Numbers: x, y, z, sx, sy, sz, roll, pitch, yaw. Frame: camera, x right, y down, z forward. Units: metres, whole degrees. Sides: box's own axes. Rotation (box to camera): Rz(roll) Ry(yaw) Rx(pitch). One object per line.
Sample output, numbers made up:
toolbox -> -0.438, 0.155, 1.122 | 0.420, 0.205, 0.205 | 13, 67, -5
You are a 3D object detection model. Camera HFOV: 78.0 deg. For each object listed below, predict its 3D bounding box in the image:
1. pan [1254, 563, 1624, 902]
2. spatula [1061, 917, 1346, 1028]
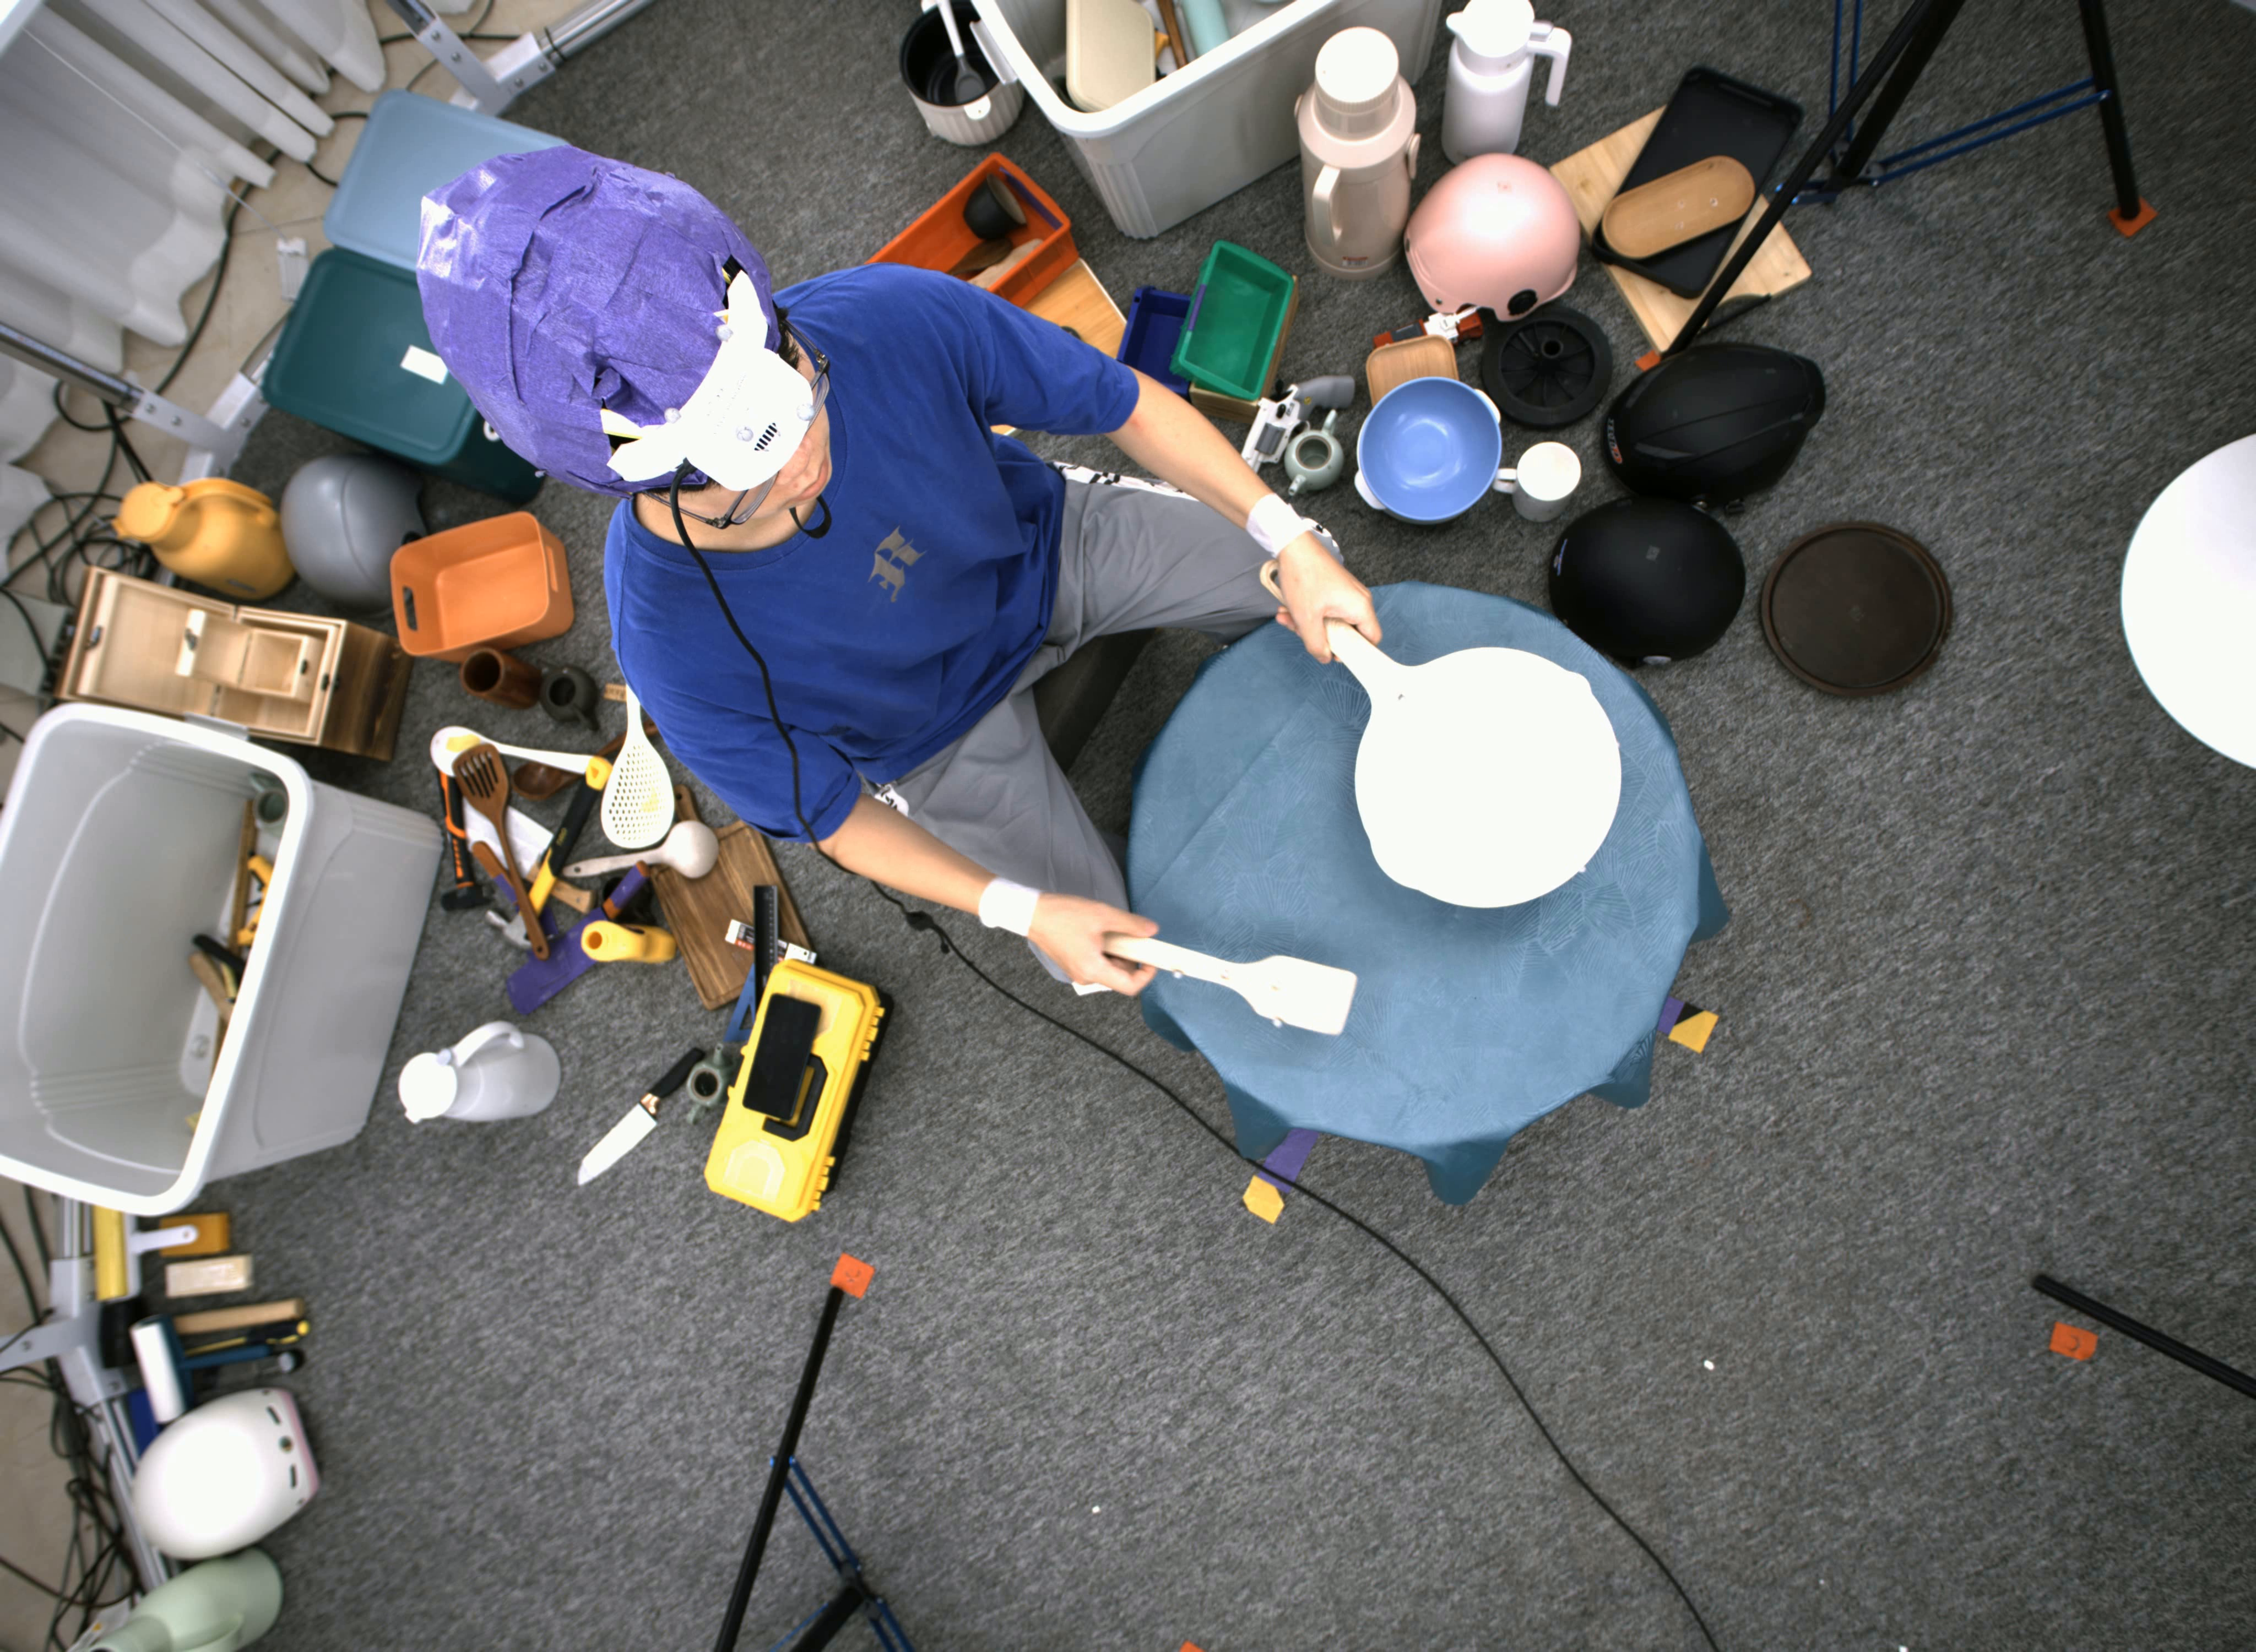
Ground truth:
pan -> 0.296, -0.115, 1.371 | 0.431, 0.101, 0.267 | 46, 107, 18
spatula -> 0.071, 0.139, 1.404 | 0.293, 0.011, 0.070 | 13, 59, 12
